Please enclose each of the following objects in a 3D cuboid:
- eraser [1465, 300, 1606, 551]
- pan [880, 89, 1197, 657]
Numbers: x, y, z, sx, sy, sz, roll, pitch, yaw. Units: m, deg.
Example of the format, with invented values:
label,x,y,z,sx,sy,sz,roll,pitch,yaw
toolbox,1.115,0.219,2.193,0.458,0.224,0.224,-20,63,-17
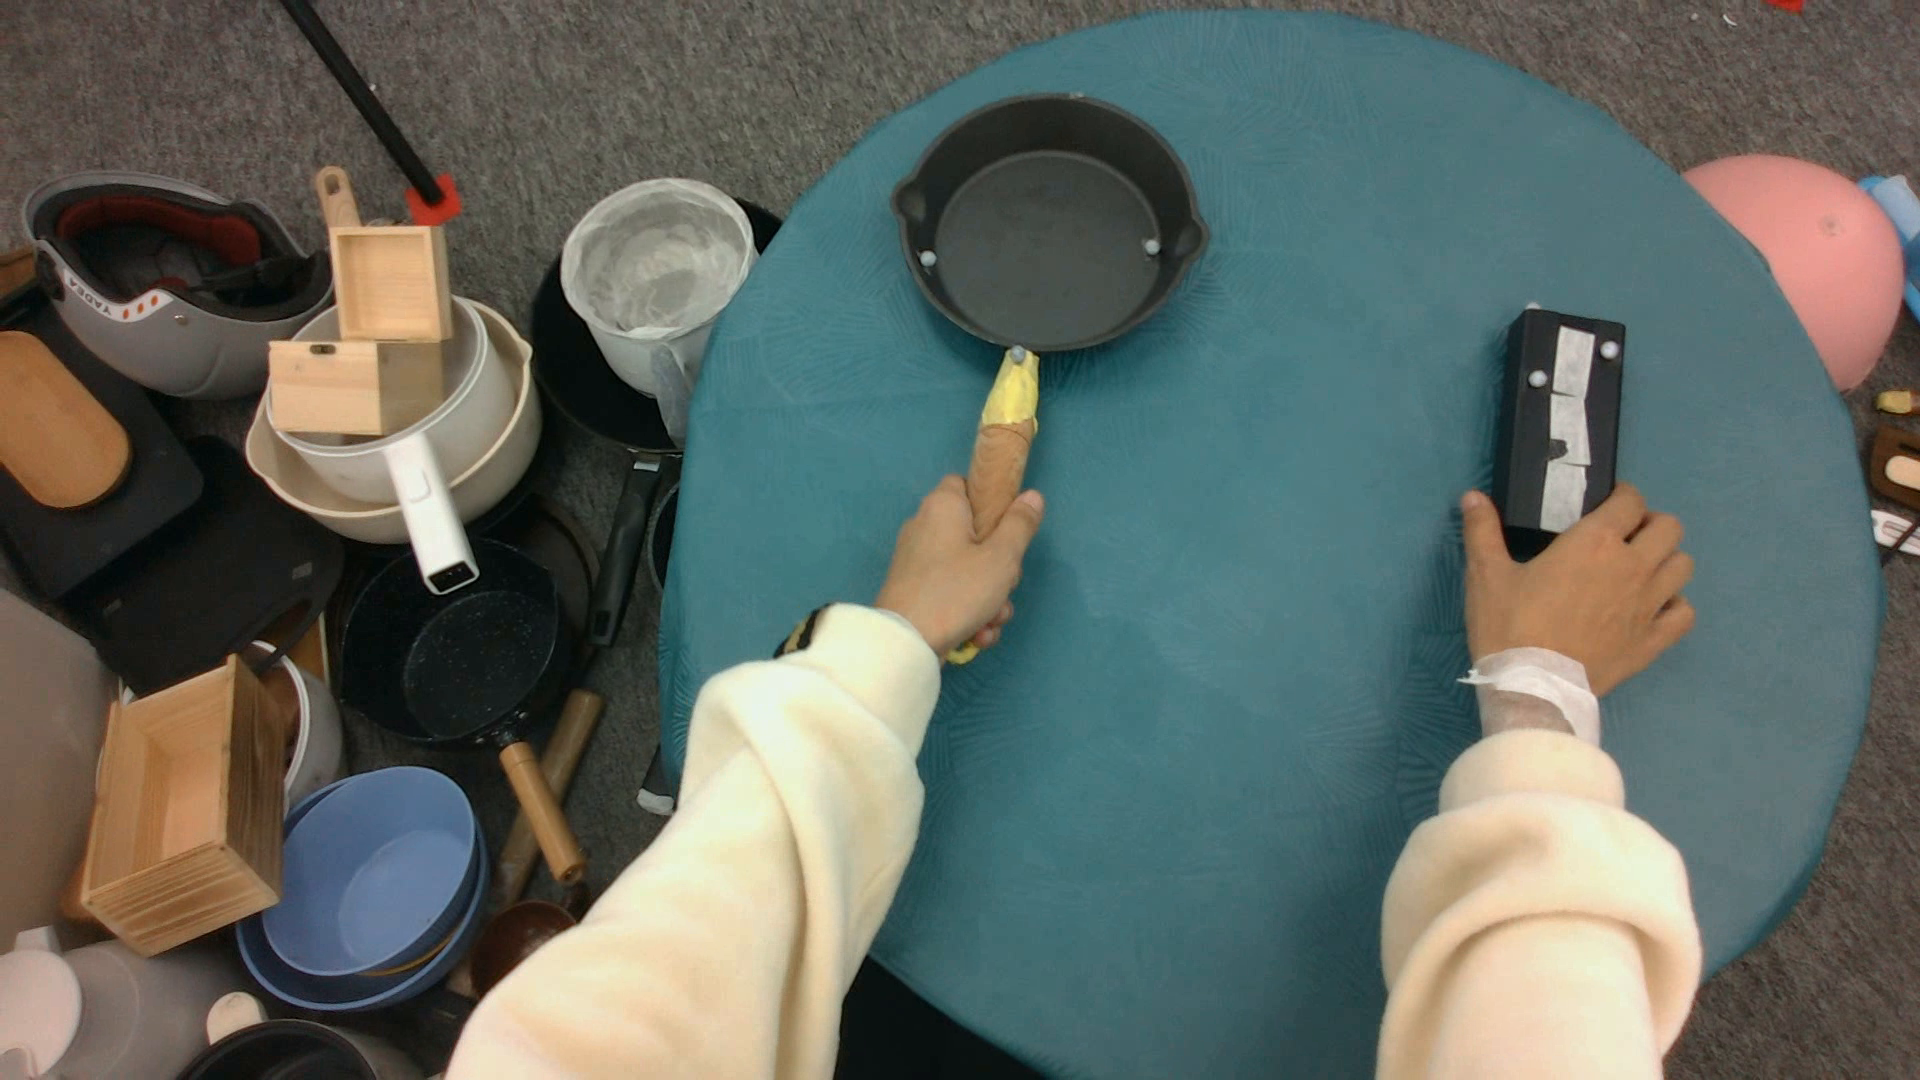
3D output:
label,x,y,z,sx,sy,sz,roll,pitch,yaw
eraser,0.289,-0.059,0.692,0.053,0.030,0.126,12,71,7
pan,0.022,-0.092,0.700,0.169,0.049,0.325,12,69,5
